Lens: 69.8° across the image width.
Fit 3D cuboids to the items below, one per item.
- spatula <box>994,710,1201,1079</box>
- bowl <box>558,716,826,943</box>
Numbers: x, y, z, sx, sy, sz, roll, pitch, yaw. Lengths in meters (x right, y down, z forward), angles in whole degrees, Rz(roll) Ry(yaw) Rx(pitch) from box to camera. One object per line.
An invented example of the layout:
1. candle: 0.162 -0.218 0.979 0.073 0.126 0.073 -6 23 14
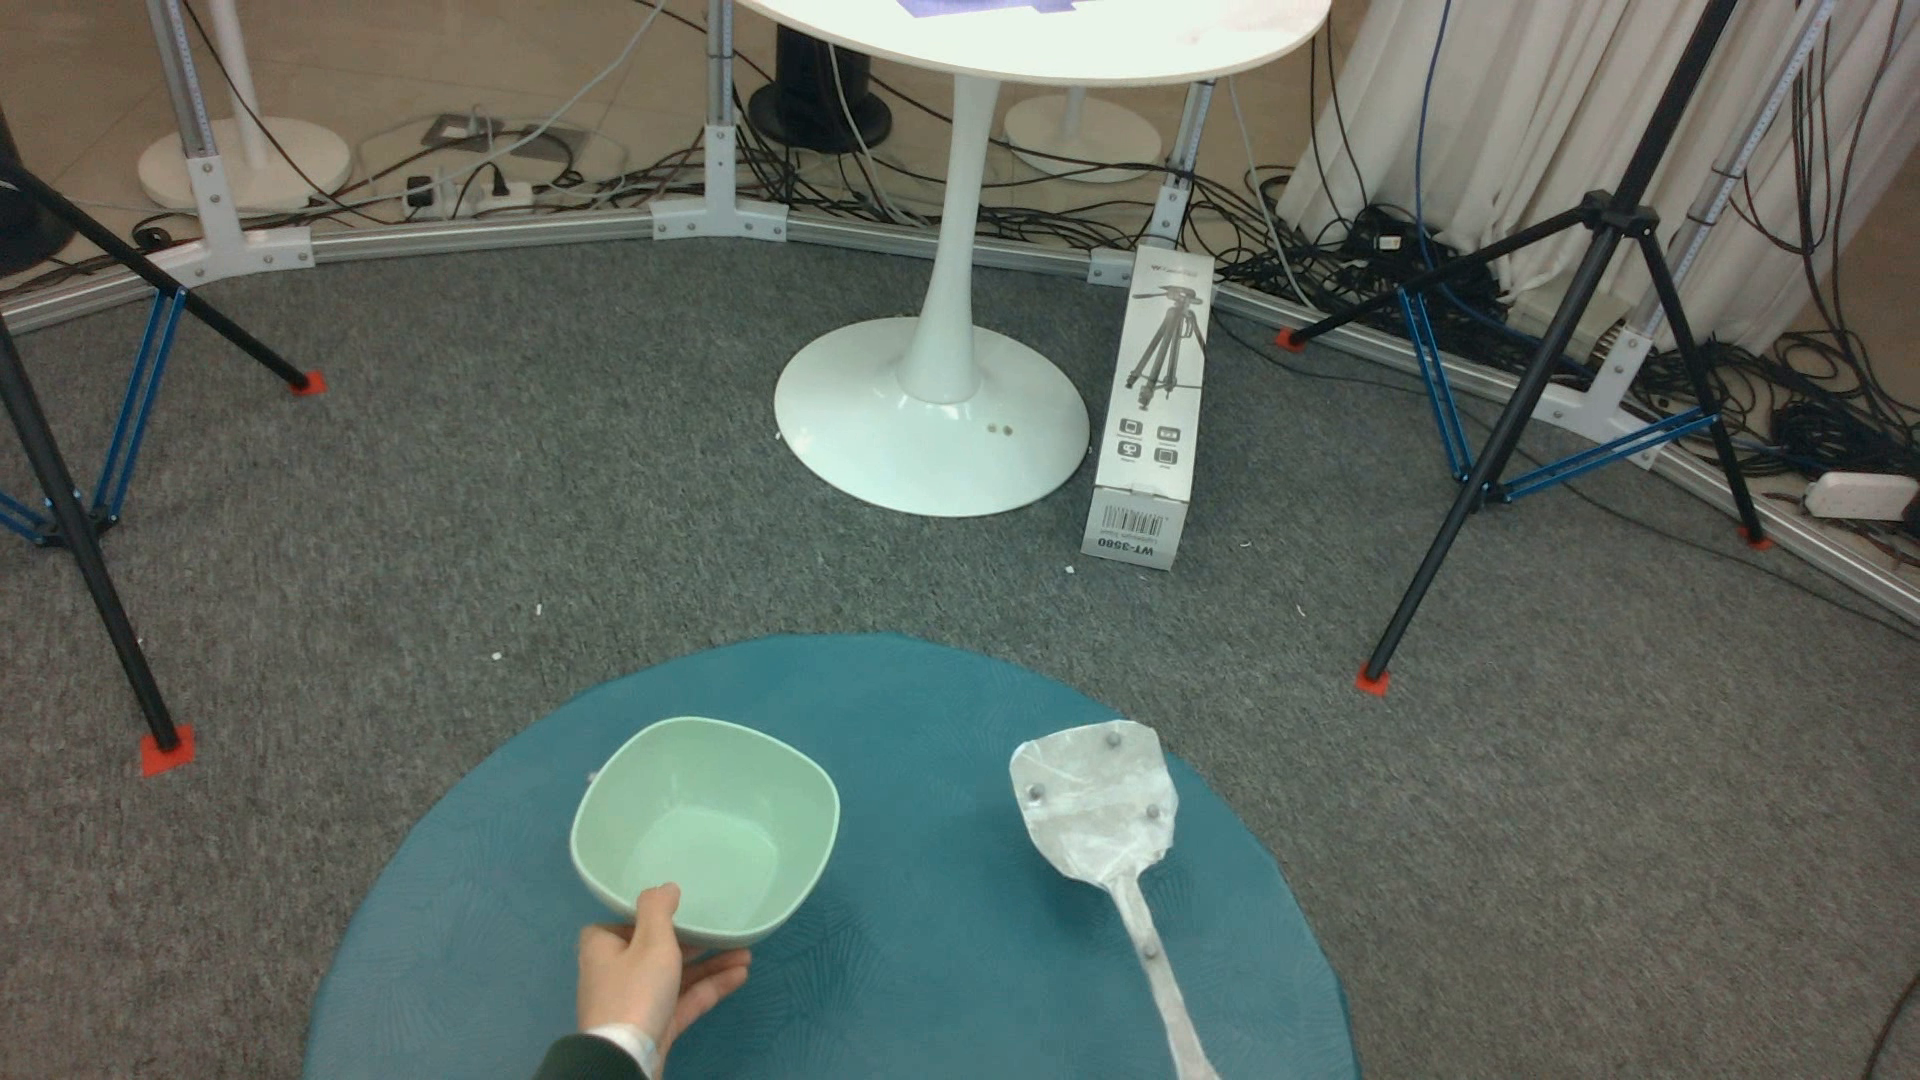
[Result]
1. spatula: 0.100 0.234 0.748 0.099 0.044 0.366 -8 37 -8
2. bowl: -0.152 0.173 0.784 0.151 0.058 0.152 9 39 -7
